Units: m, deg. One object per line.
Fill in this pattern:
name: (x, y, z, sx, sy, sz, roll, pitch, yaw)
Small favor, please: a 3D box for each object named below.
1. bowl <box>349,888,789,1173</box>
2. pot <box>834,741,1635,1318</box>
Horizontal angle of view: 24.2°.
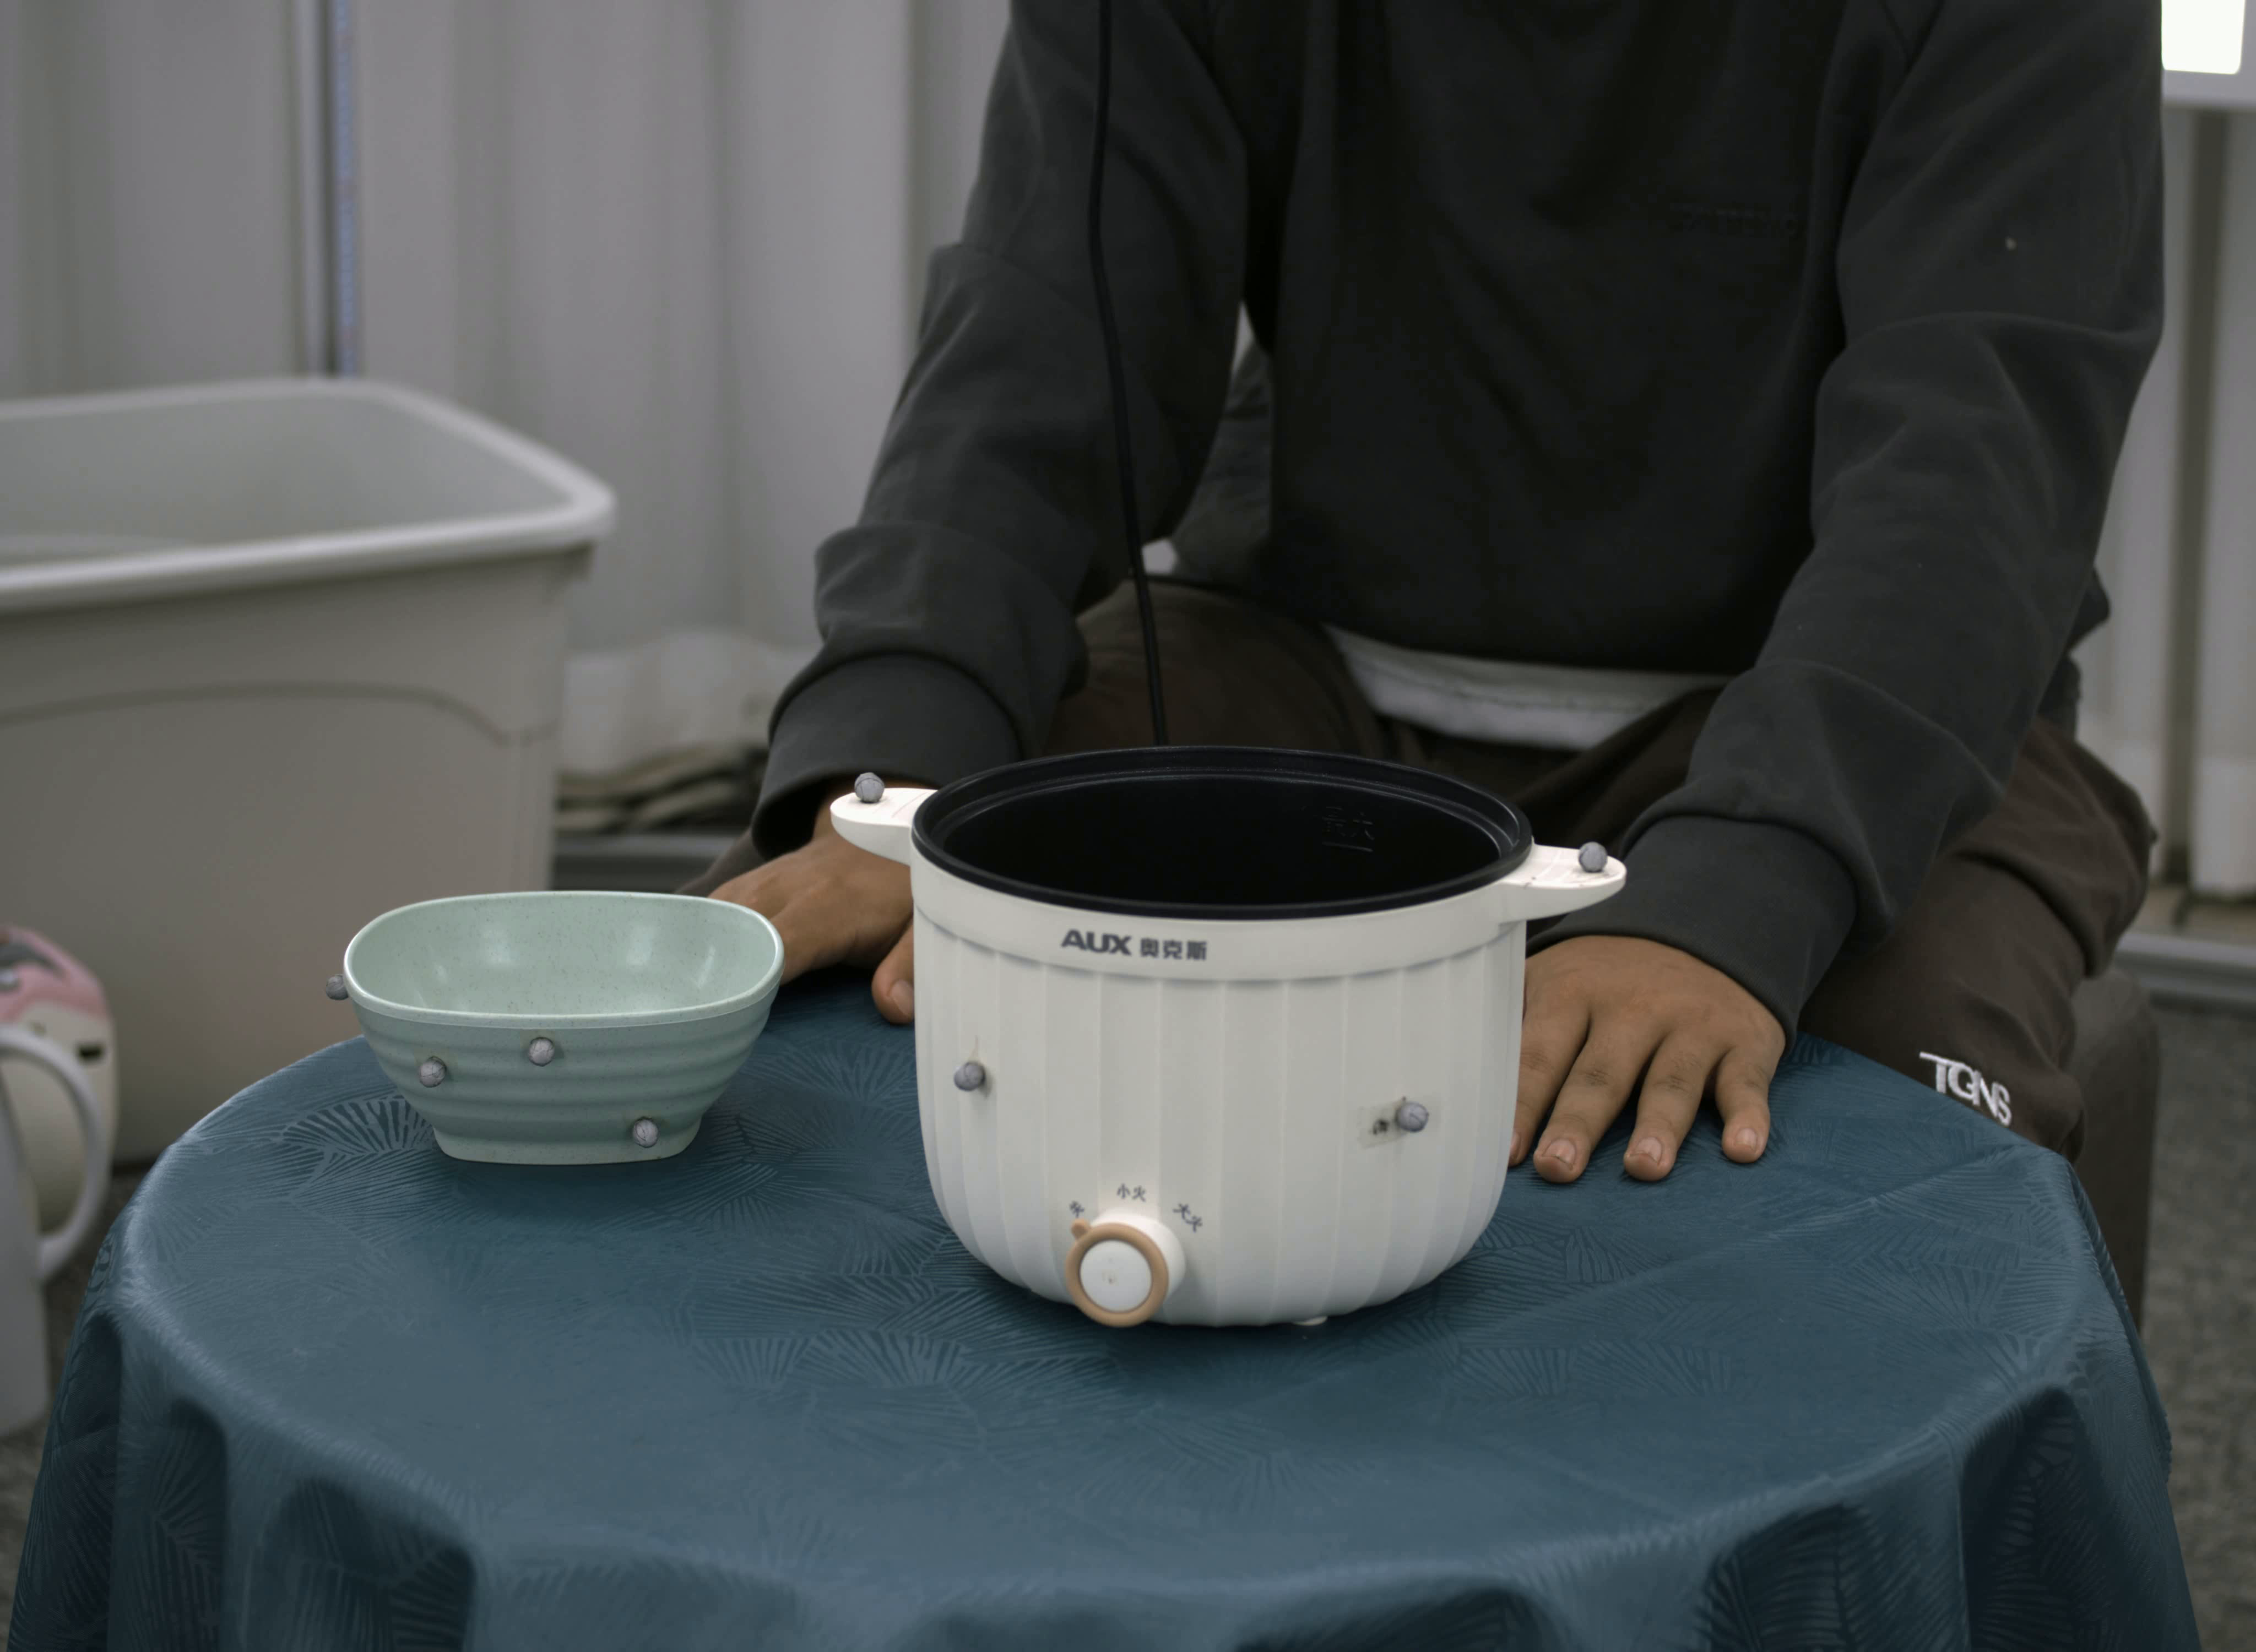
bowl: (-0.177, 0.068, 1.674, 0.151, 0.059, 0.150, 1, 17, 0)
pot: (0.029, 0.062, 1.544, 0.238, 0.143, 0.190, 3, 13, 15)
